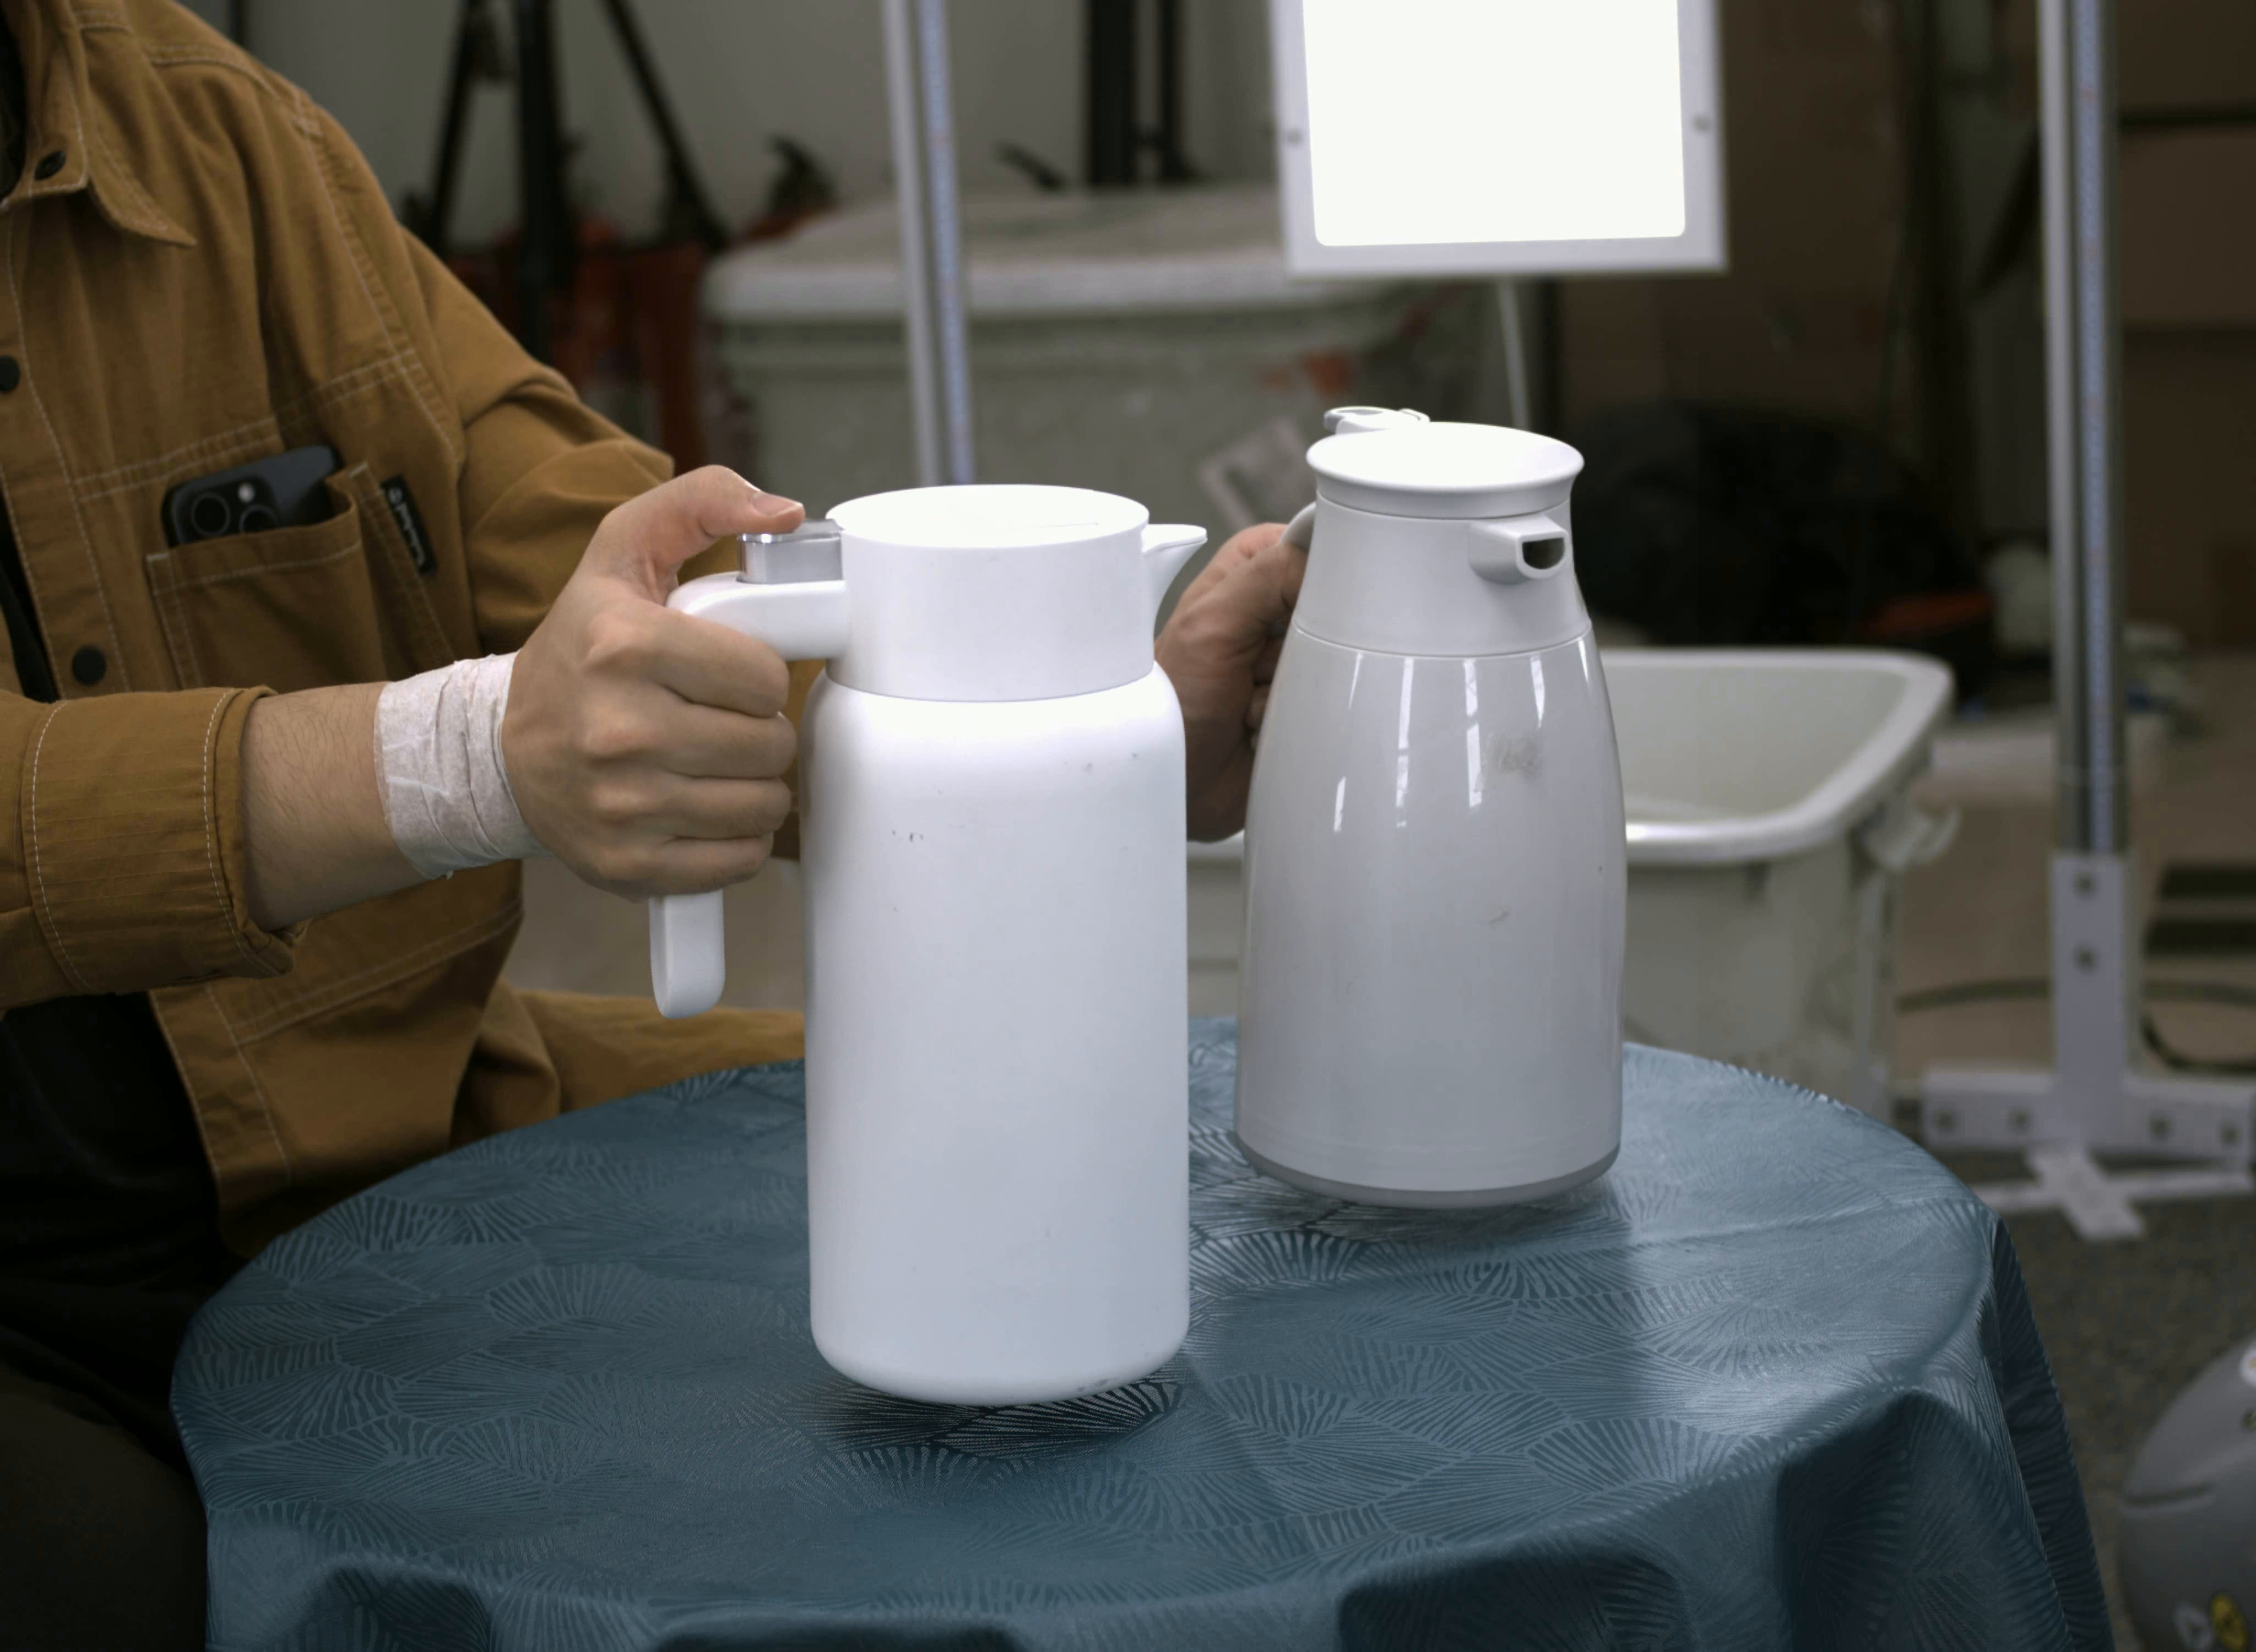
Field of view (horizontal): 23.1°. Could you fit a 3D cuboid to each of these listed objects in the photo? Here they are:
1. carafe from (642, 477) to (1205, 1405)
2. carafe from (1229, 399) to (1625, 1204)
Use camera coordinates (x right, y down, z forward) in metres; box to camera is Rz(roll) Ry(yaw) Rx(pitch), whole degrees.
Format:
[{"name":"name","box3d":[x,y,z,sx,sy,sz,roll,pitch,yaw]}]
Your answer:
[{"name":"carafe","box3d":[-0.058,0.035,1.662,0.170,0.270,0.125,-4,17,-14]},{"name":"carafe","box3d":[0.092,-0.016,1.847,0.129,0.250,0.170,-8,18,-28]}]
